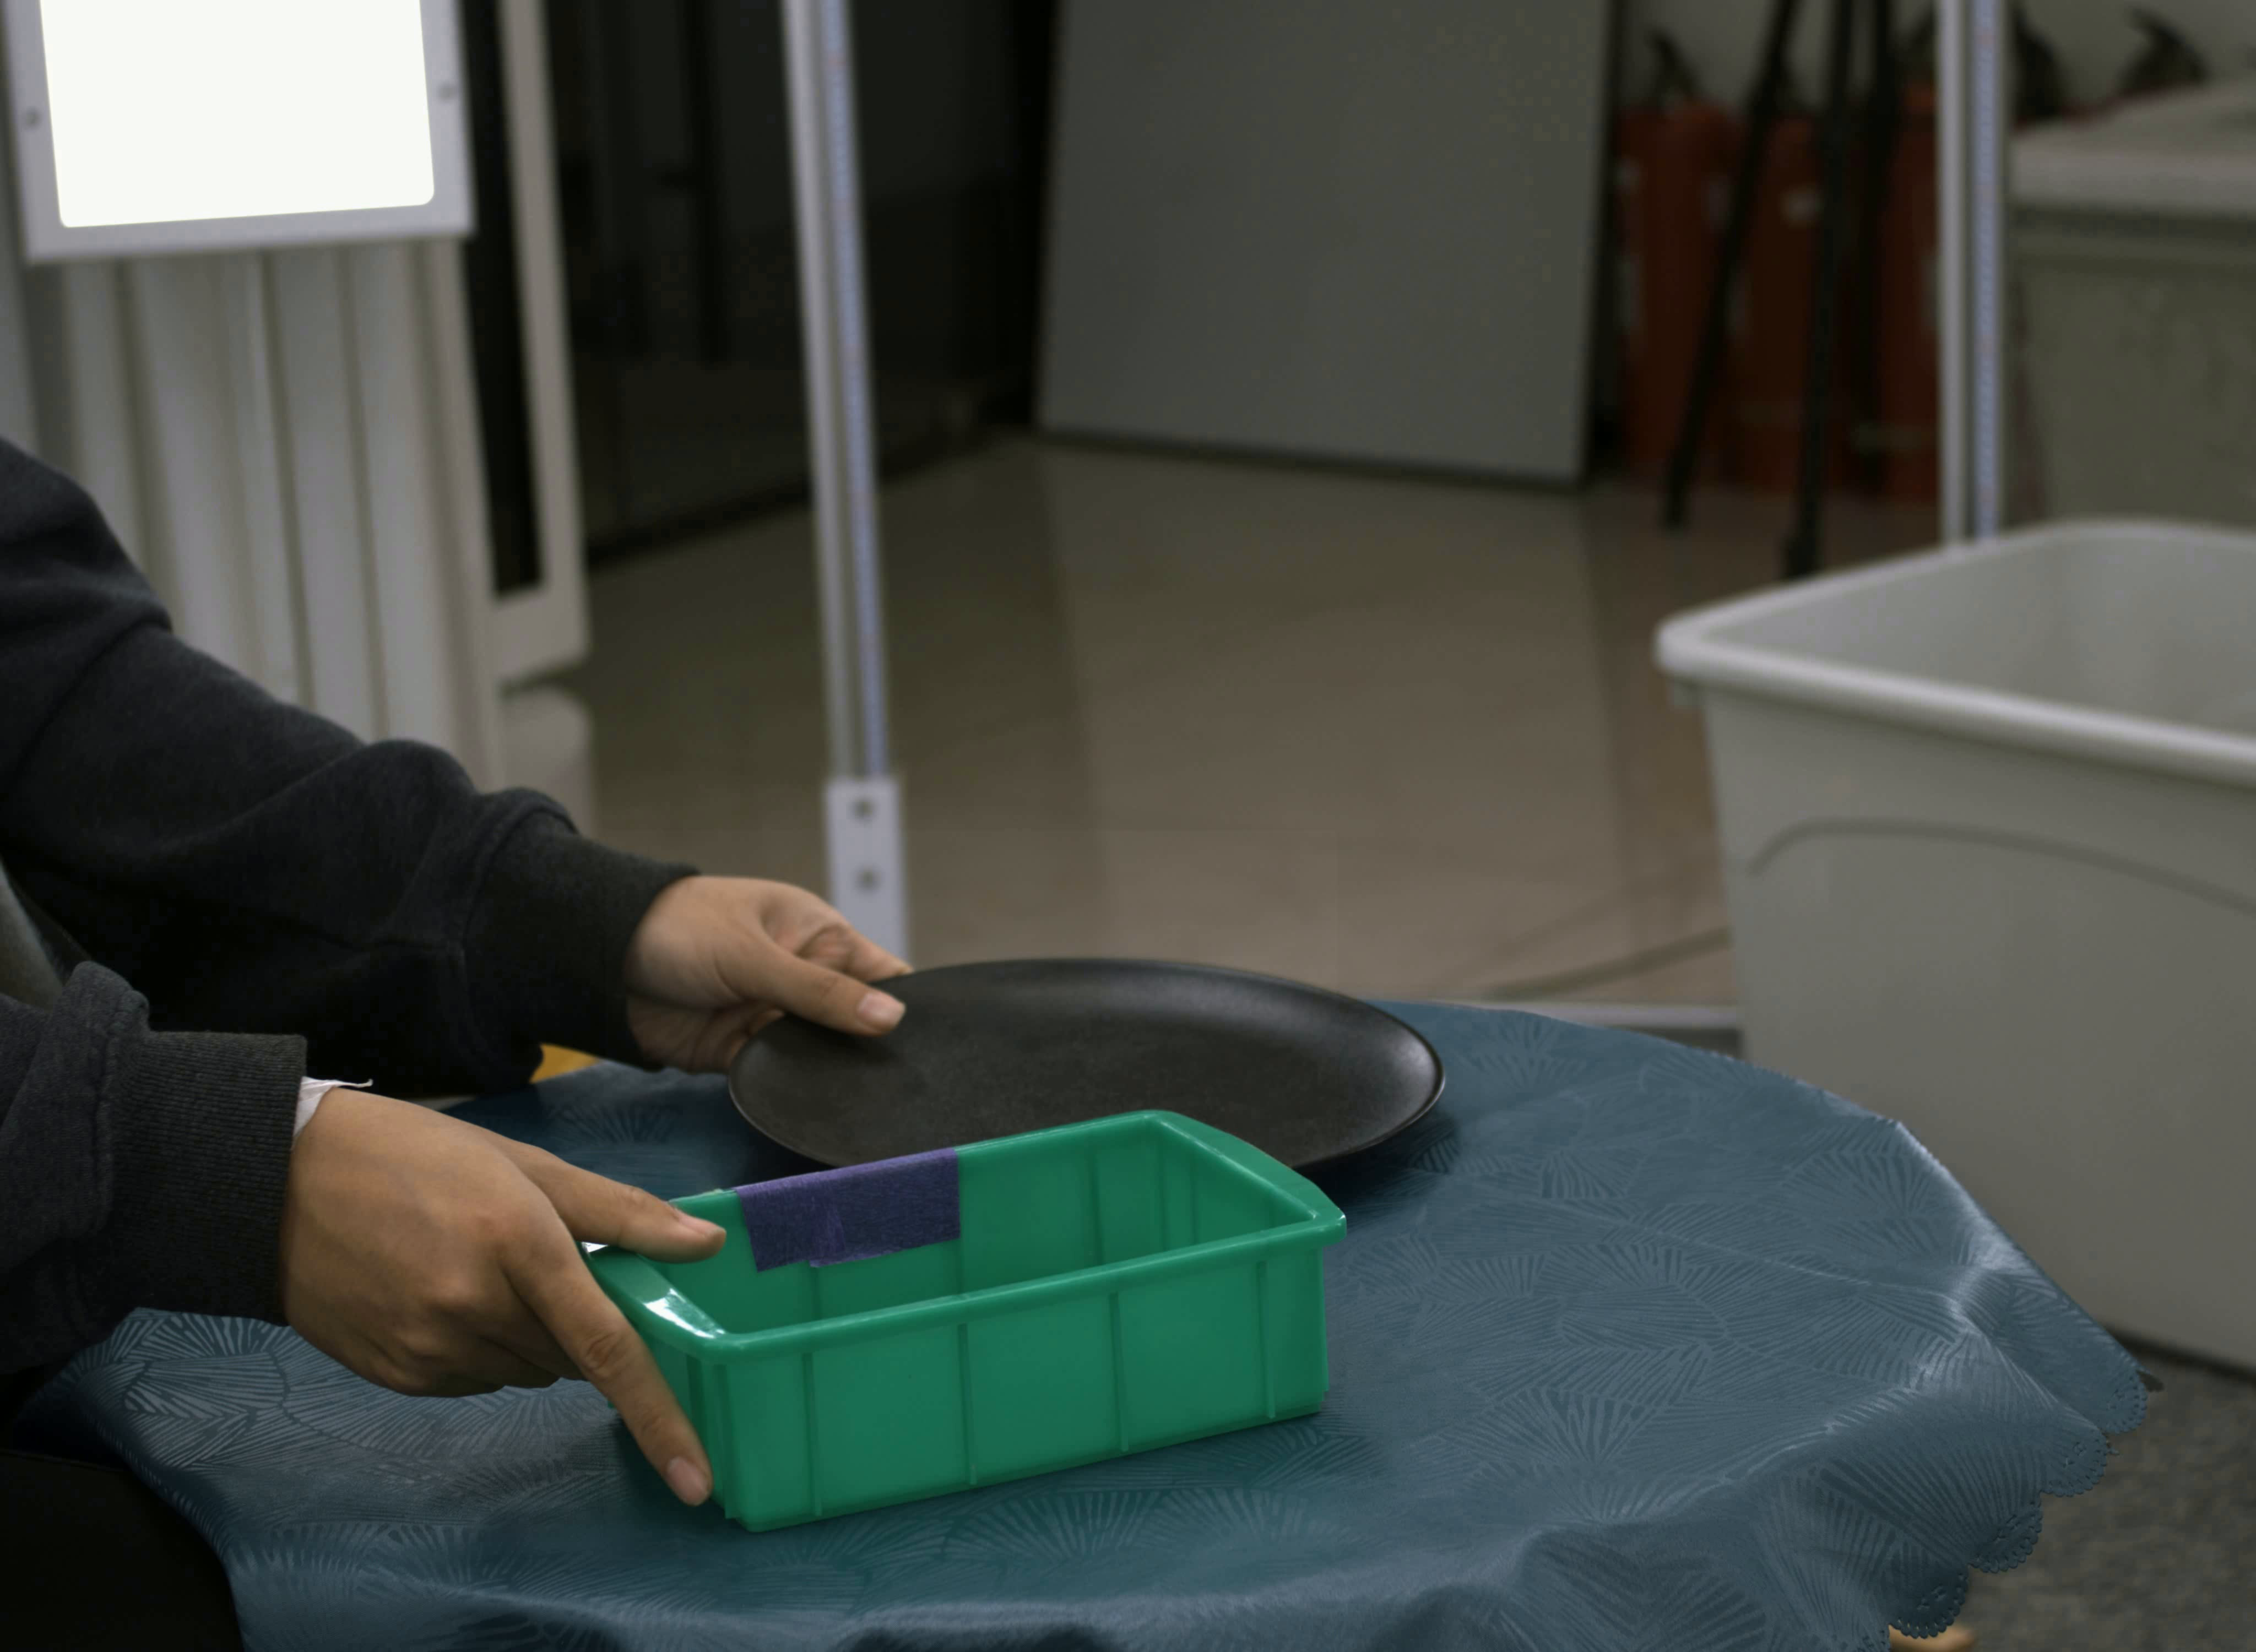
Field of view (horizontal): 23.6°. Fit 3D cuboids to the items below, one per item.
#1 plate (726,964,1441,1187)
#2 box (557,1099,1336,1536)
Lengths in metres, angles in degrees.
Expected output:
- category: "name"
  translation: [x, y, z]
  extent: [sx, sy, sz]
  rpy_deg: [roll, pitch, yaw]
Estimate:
- category: "plate"
  translation: [-0.015, 0.093, 1.816]
  extent: [0.241, 0.024, 0.245]
  rpy_deg: [-1, 17, -1]
- category: "box"
  translation: [-0.051, 0.141, 1.566]
  extent: [0.206, 0.066, 0.140]
  rpy_deg: [-12, 13, -22]
